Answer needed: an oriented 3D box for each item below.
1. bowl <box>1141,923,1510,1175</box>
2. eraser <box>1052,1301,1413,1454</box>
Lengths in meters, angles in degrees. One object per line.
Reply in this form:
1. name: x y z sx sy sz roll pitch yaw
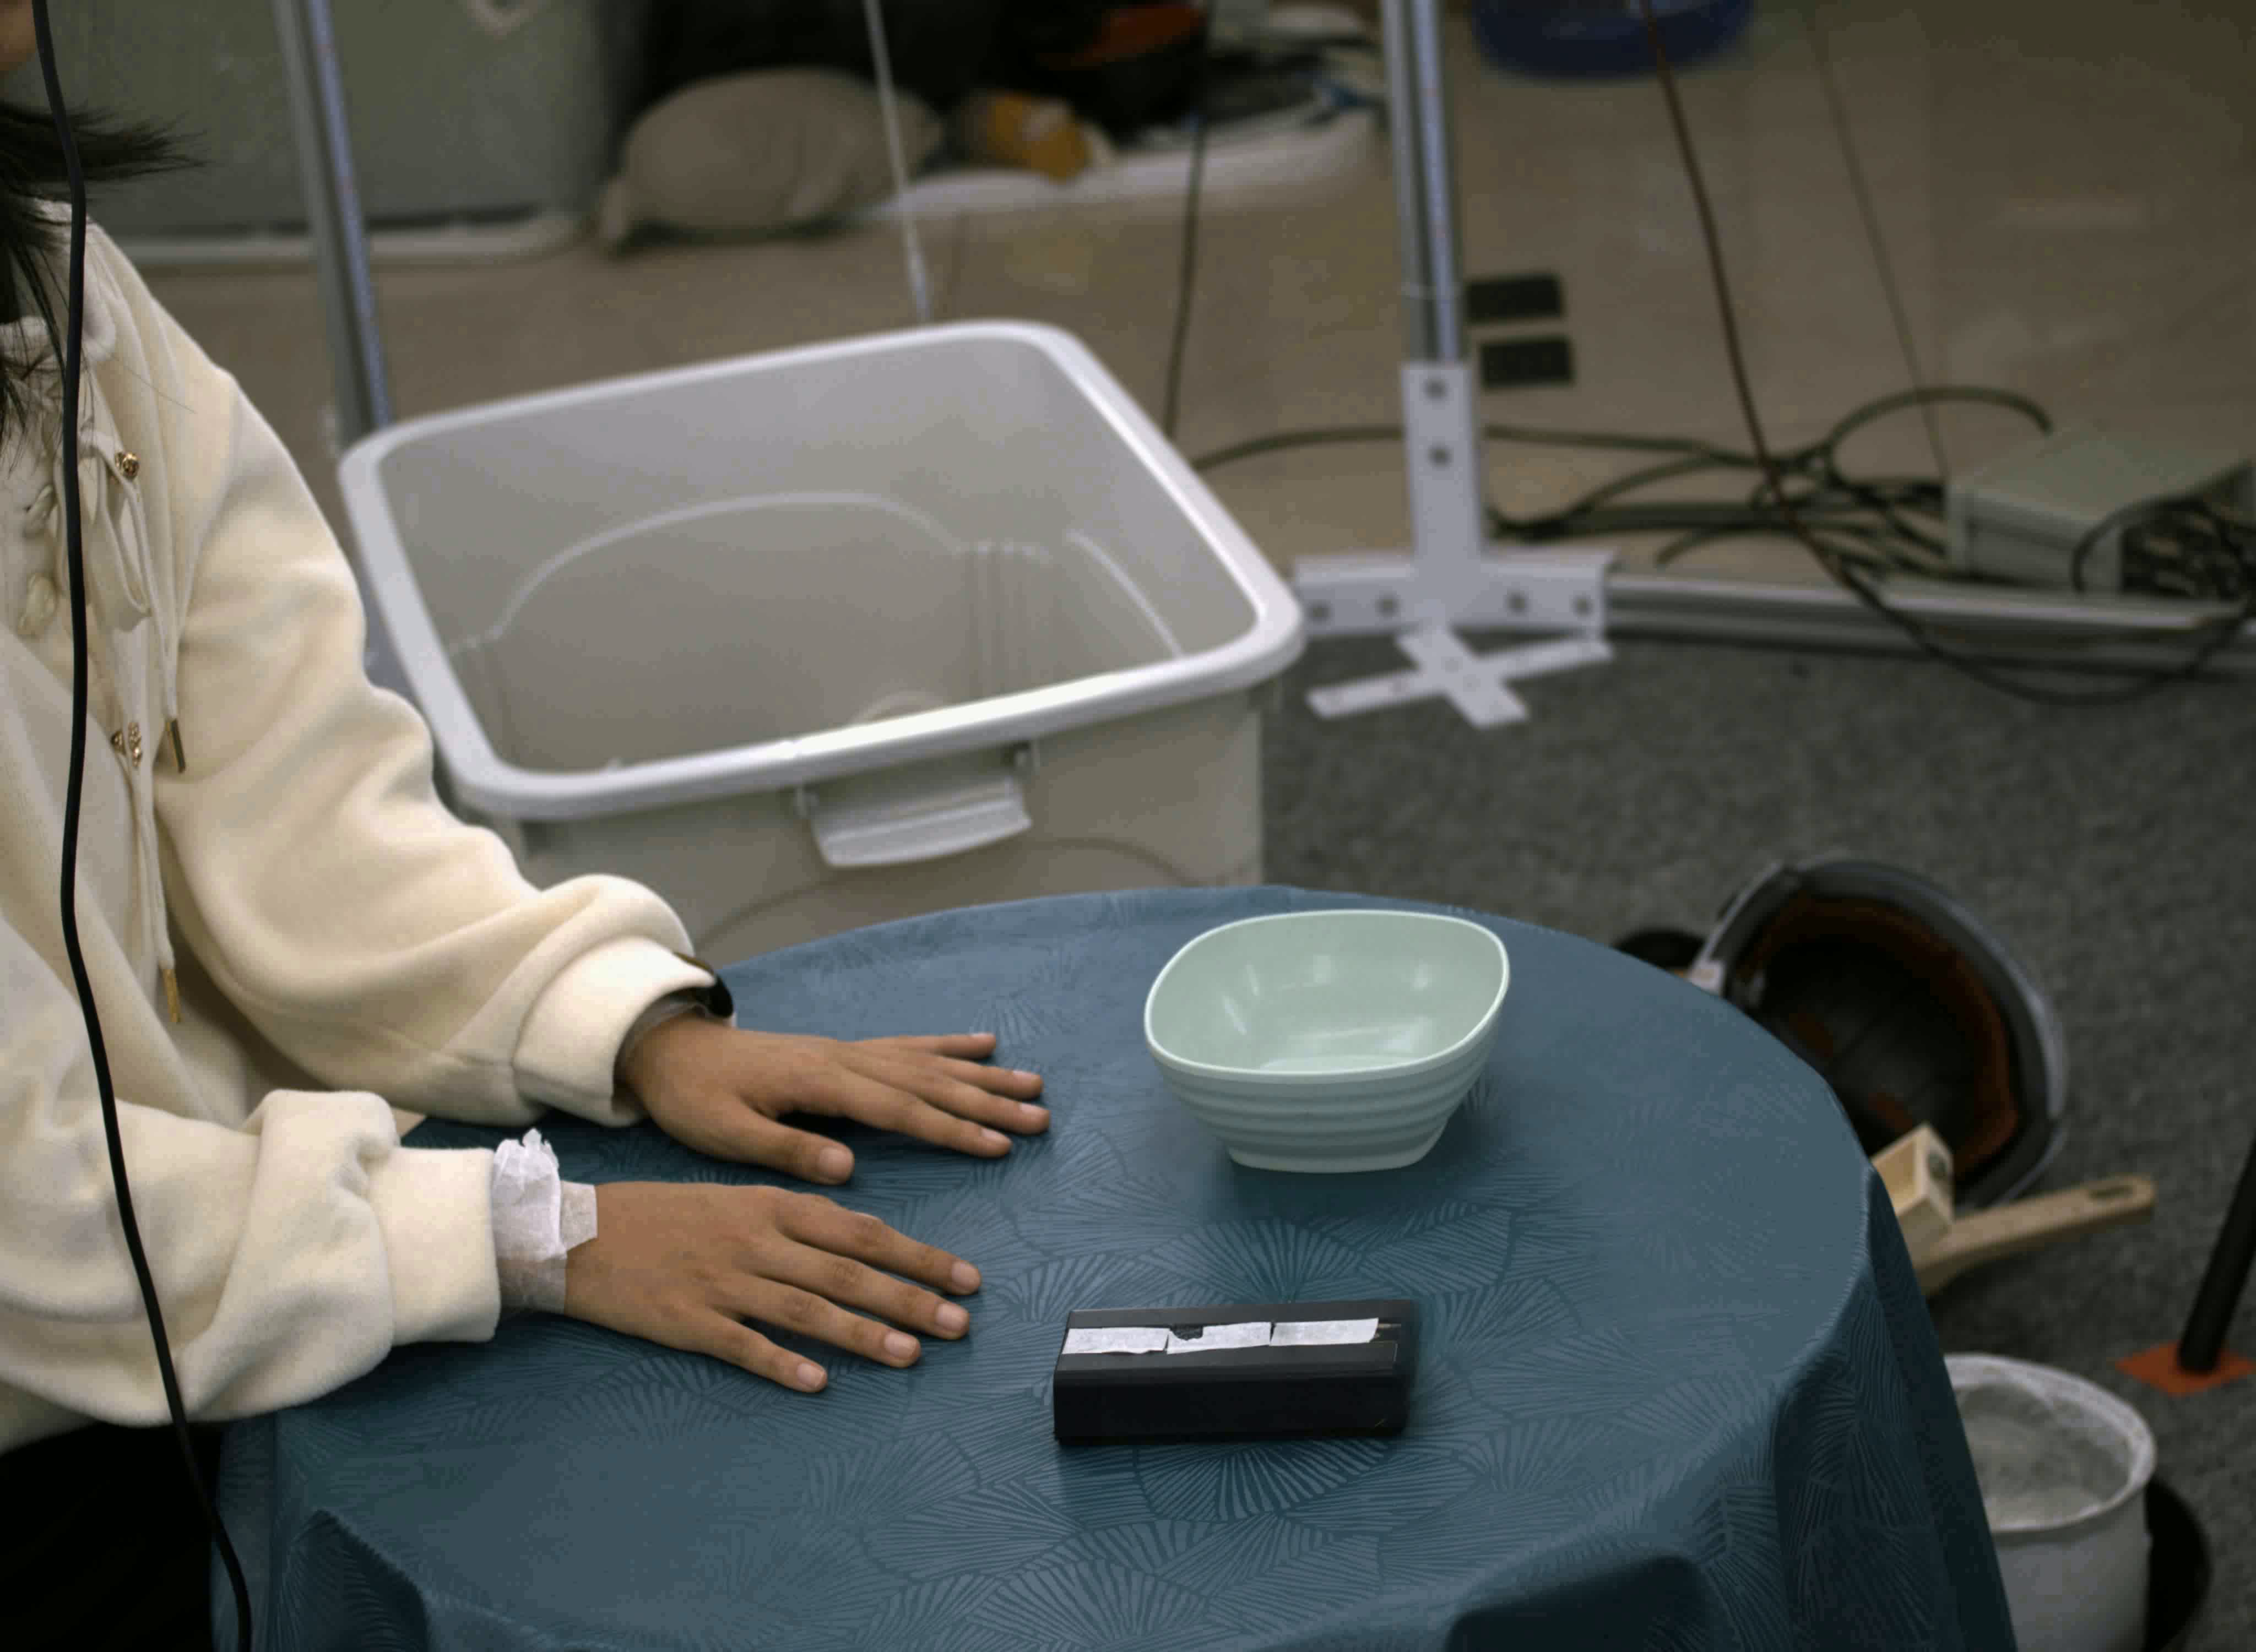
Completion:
1. bowl: 0.077 0.090 2.168 0.151 0.059 0.149 -4 22 2
2. eraser: 0.038 0.193 1.991 0.125 0.031 0.053 -5 24 9
